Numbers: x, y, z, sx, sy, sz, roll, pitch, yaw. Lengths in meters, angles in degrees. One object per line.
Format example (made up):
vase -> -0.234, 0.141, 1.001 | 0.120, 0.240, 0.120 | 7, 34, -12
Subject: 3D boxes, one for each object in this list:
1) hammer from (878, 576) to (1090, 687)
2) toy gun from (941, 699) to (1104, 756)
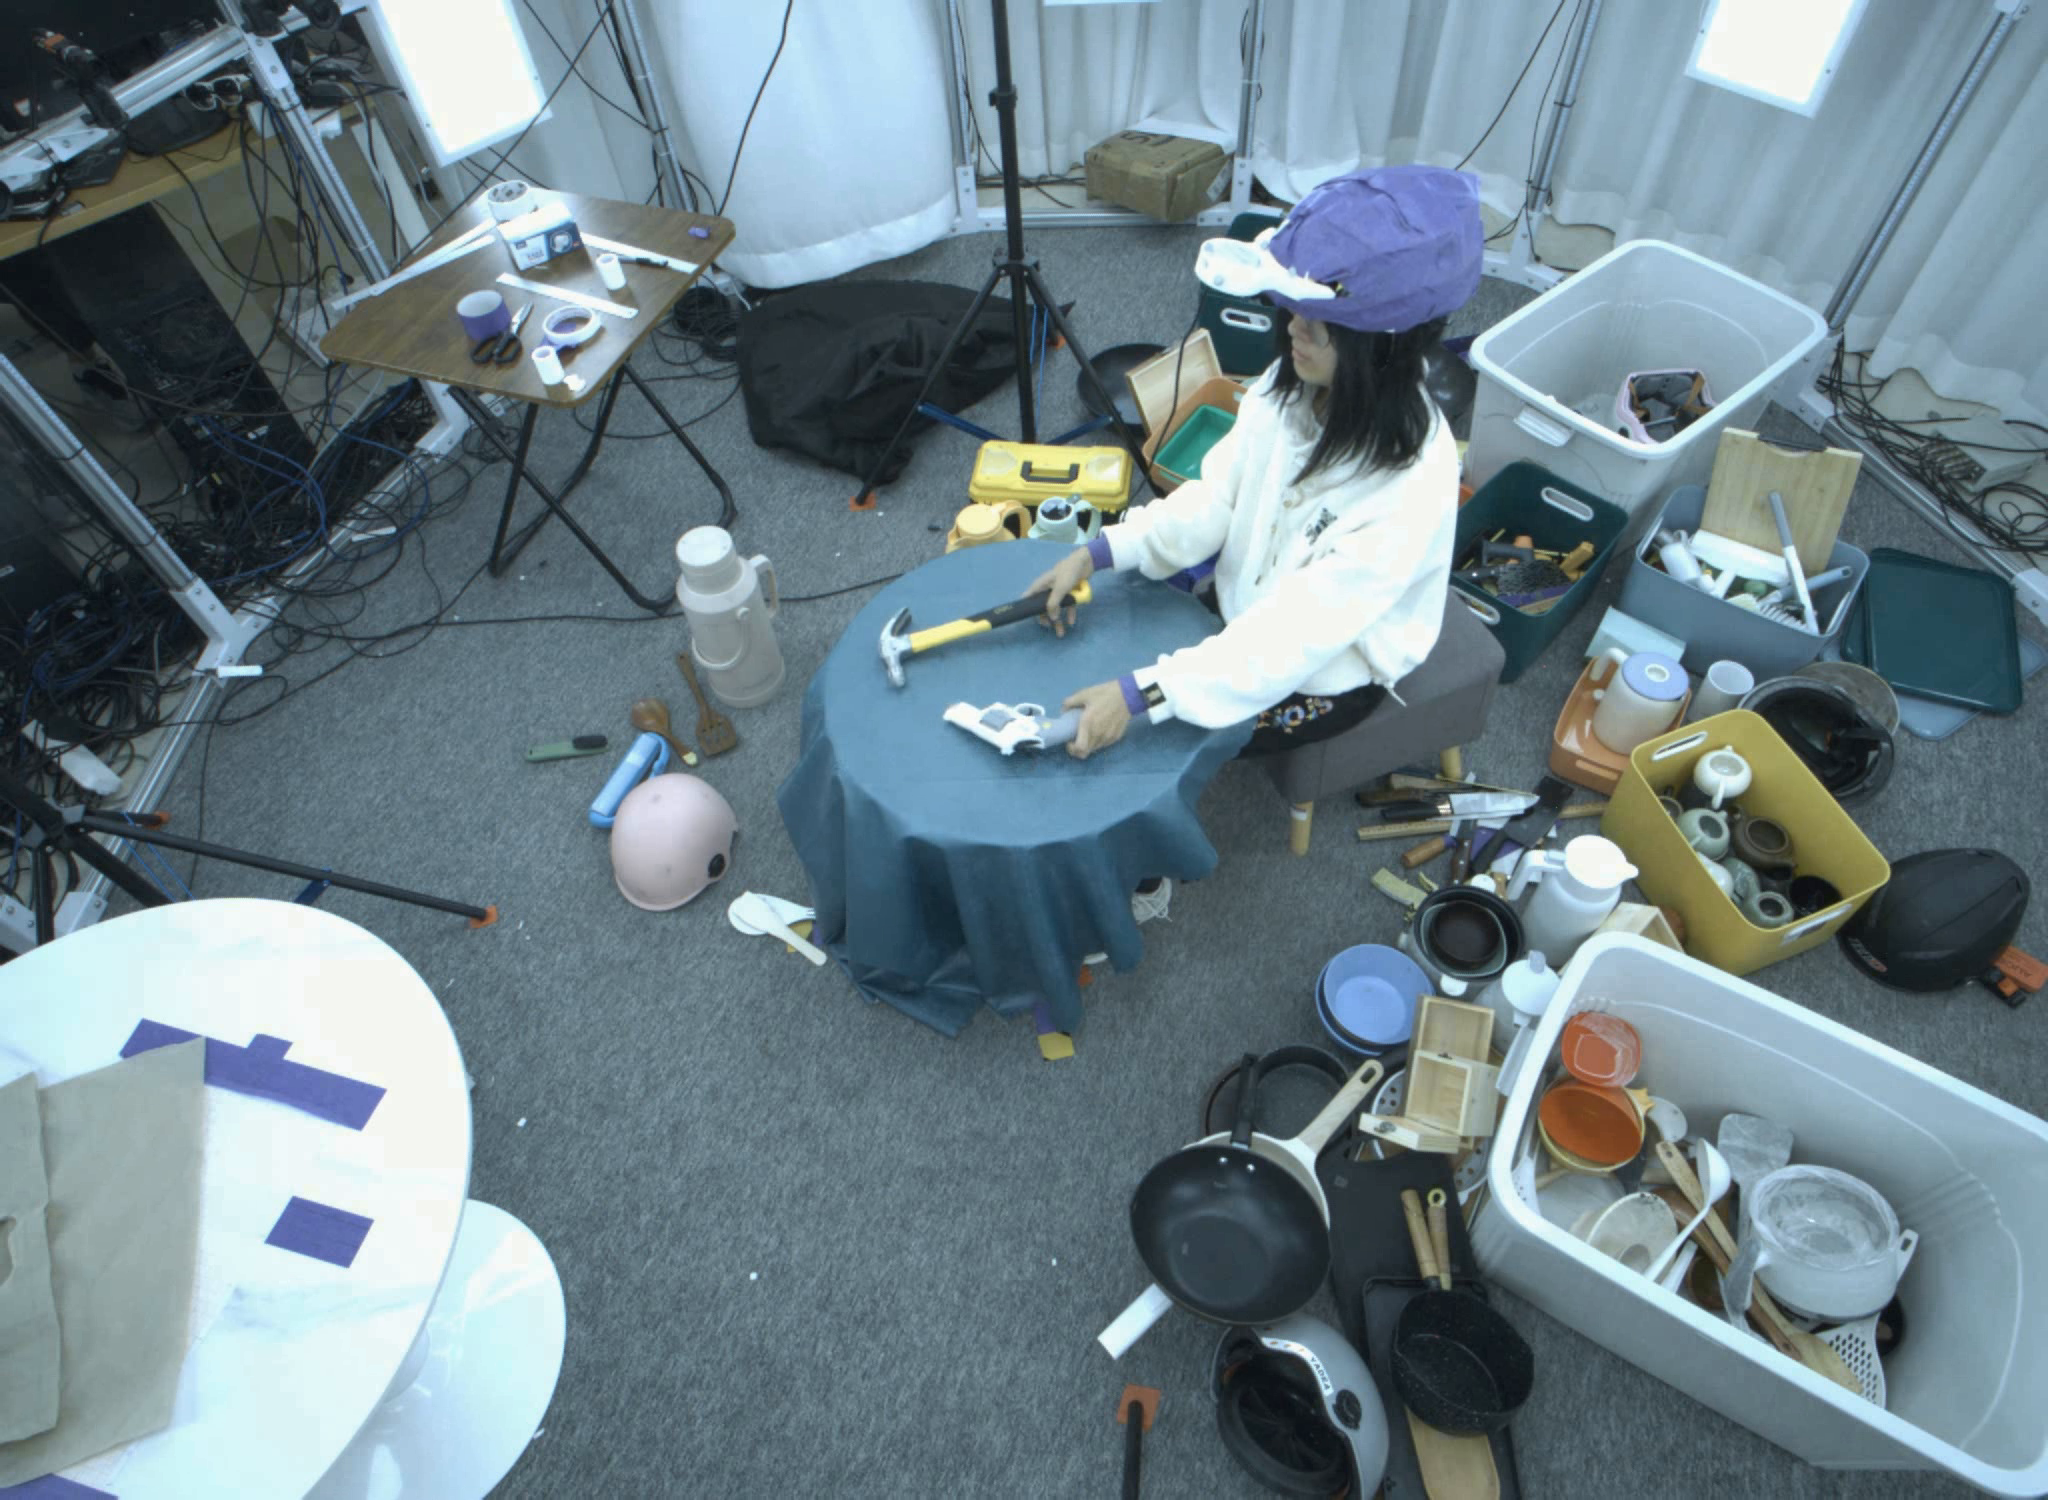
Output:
hammer -> -0.062, -0.201, 1.886 | 0.338, 0.033, 0.129 | -18, 53, 0
toy gun -> -0.003, -0.048, 1.791 | 0.205, 0.039, 0.142 | 26, 54, 31
